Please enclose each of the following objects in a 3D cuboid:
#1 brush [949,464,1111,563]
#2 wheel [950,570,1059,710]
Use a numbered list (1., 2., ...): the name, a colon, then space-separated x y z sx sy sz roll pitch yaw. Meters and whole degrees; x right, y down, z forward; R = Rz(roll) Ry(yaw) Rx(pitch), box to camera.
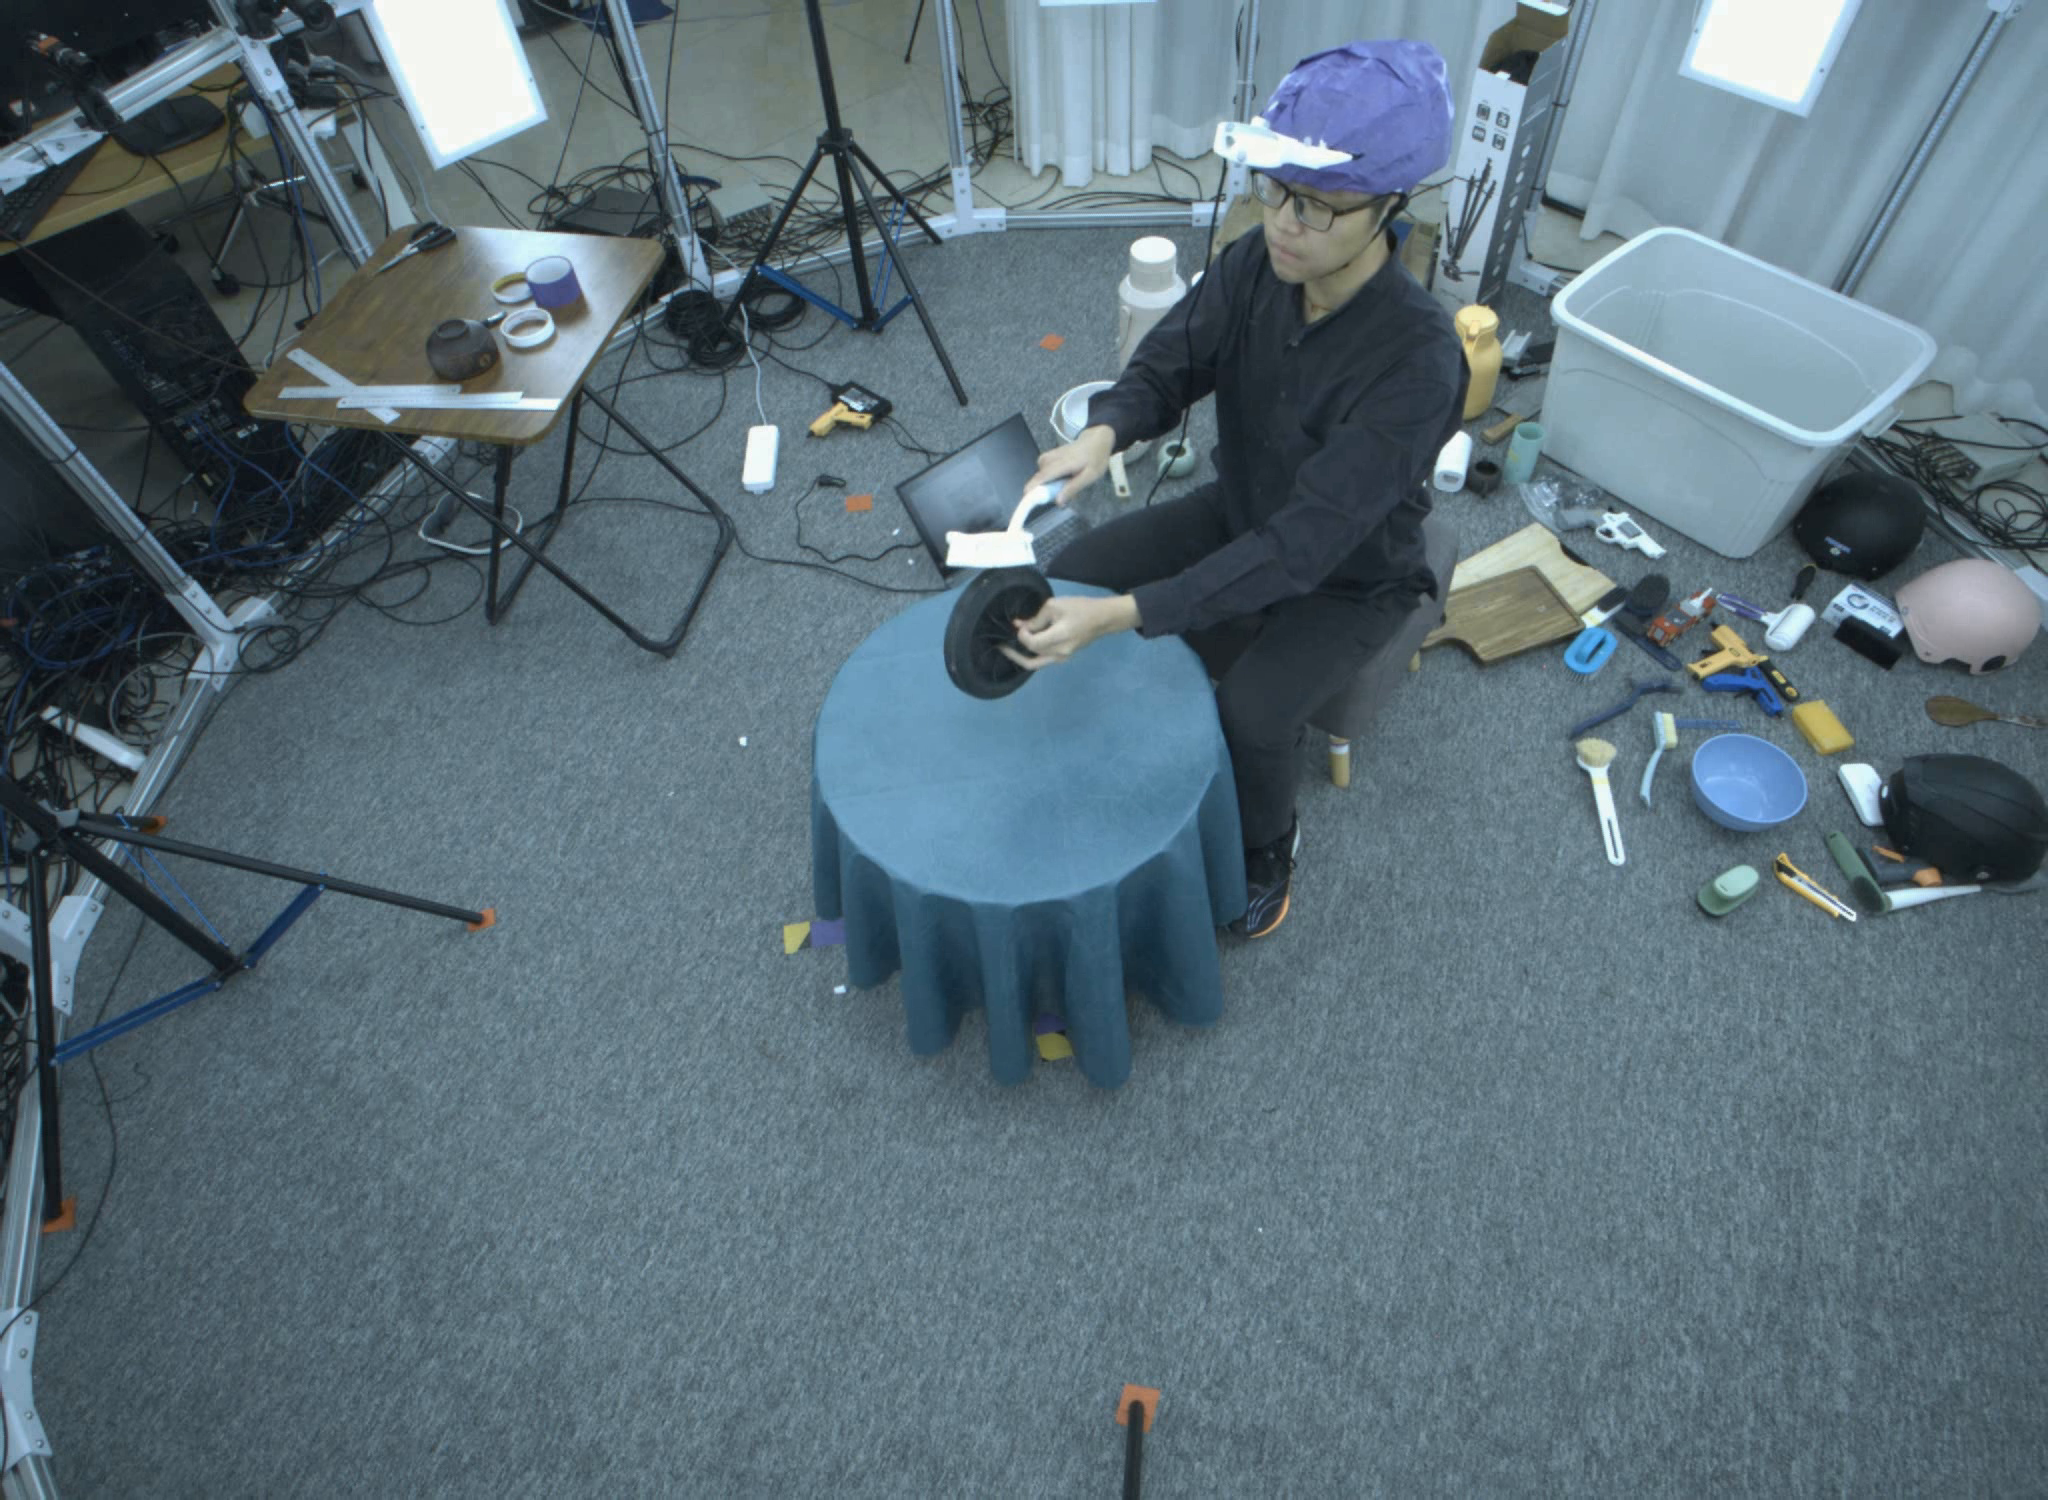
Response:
1. brush: 0.021 -0.295 1.618 0.082 0.084 0.329 44 45 15
2. wheel: -0.008 -0.137 1.615 0.077 0.191 0.190 26 79 37
